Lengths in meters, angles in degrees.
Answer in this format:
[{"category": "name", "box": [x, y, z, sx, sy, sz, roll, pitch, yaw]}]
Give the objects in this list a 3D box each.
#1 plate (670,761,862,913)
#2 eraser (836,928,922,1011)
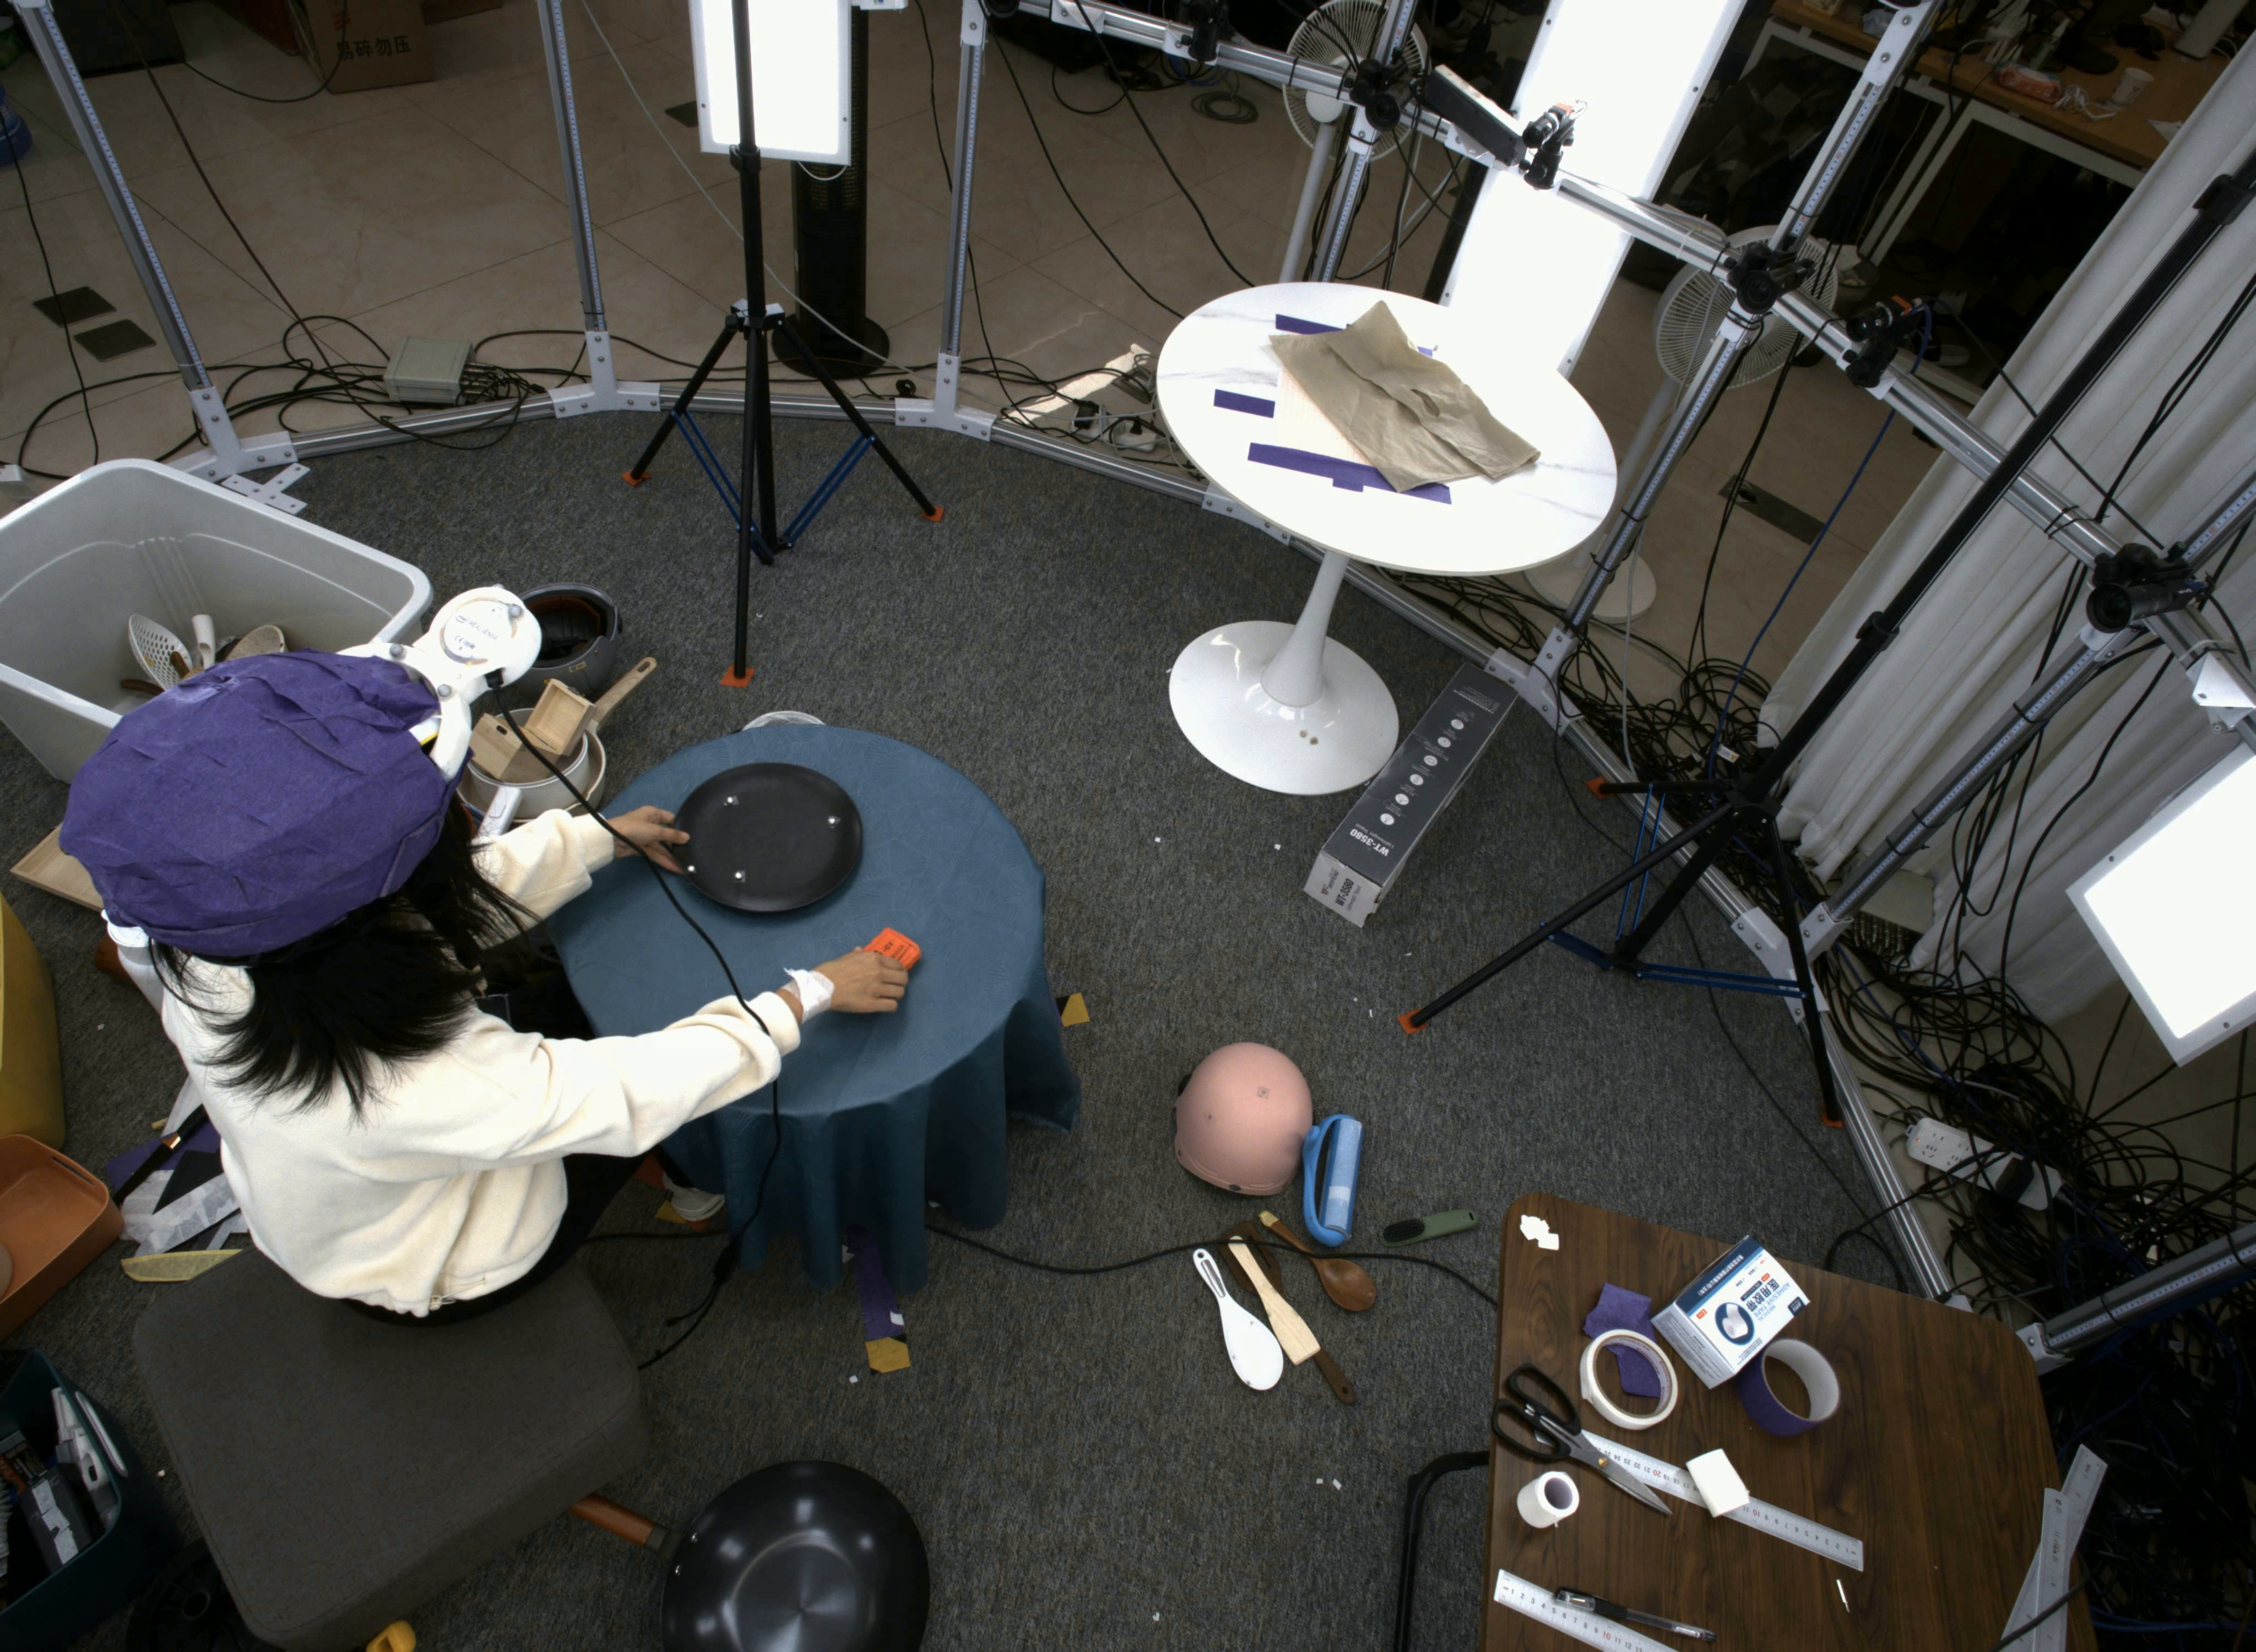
[{"category": "plate", "box": [-0.469, 0.015, 1.681, 0.244, 0.024, 0.240, 8, 53, -9]}, {"category": "eraser", "box": [-0.306, 0.173, 1.600, 0.058, 0.023, 0.108, 33, 50, 14]}]
